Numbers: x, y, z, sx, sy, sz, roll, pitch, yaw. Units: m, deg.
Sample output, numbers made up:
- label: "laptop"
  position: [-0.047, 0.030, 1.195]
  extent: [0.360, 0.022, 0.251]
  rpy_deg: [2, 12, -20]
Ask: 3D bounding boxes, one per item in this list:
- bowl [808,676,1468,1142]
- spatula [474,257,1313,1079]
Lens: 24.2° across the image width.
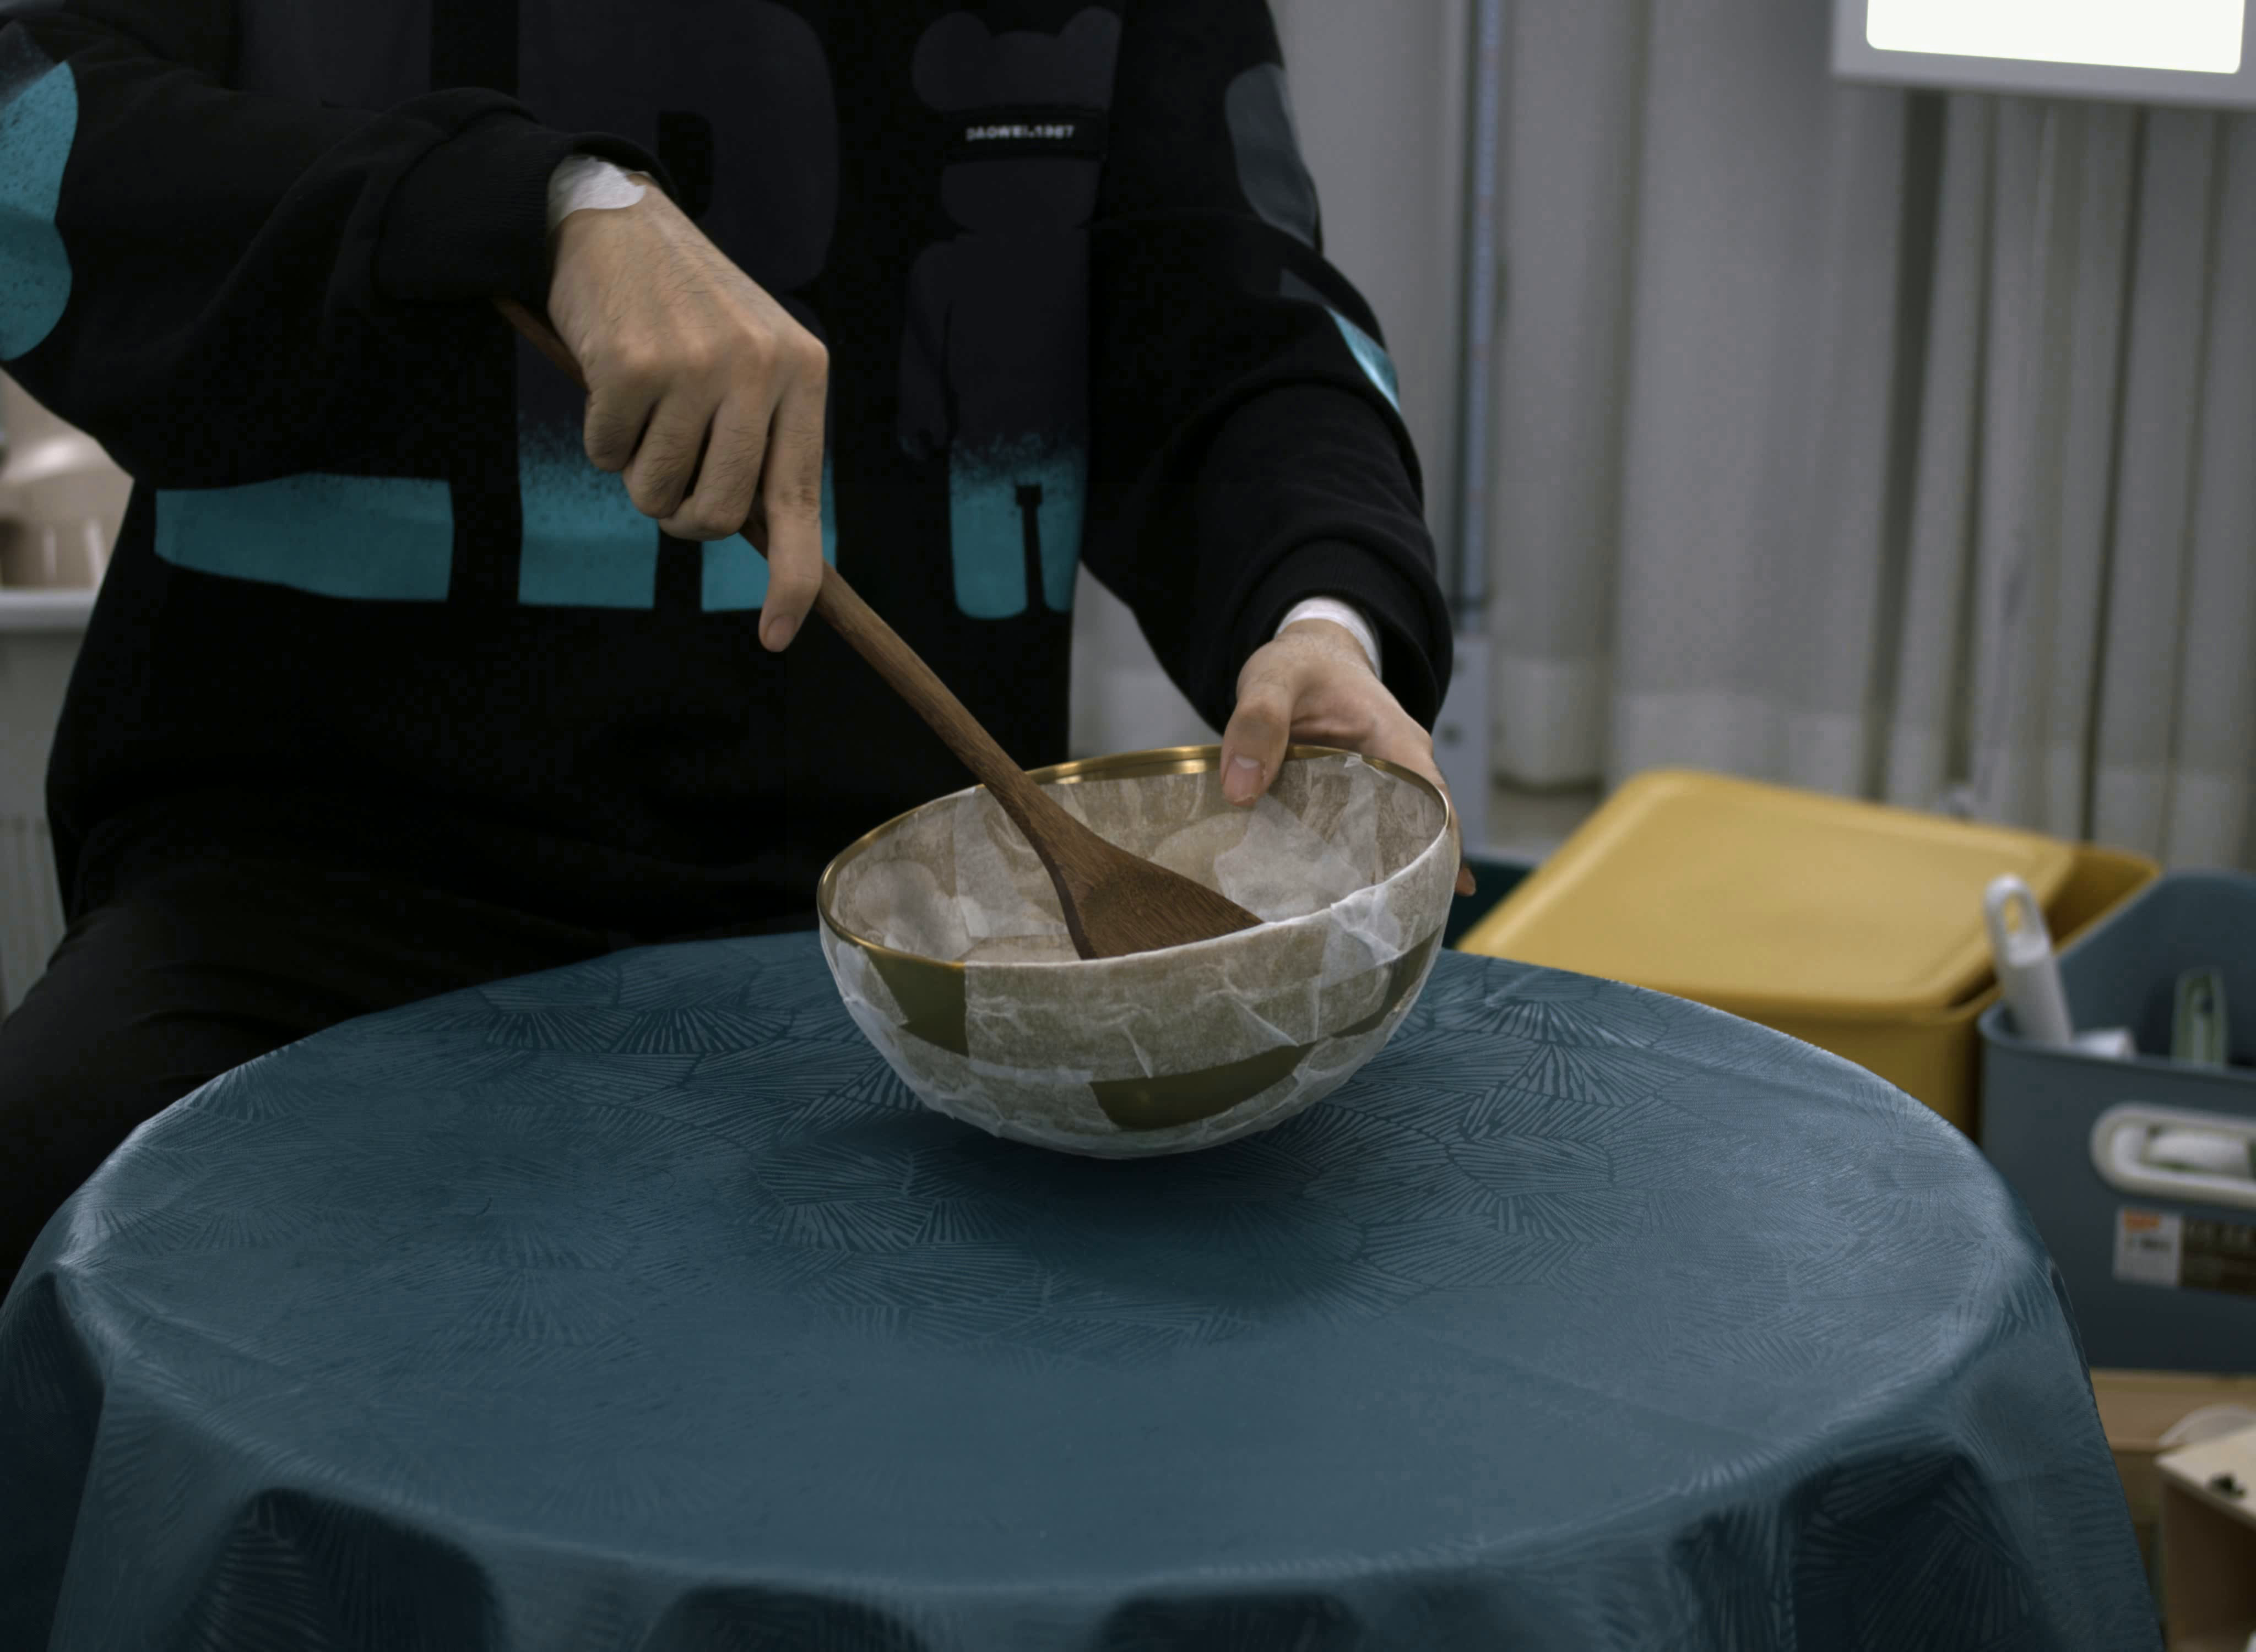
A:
- label: "bowl"
  position: [0.007, 0.037, 1.652]
  extent: [0.214, 0.095, 0.213]
  rpy_deg: [-5, 27, 3]
- label: "spatula"
  position: [-0.076, -0.055, 1.679]
  extent: [0.384, 0.016, 0.096]
  rpy_deg: [45, 30, 11]
